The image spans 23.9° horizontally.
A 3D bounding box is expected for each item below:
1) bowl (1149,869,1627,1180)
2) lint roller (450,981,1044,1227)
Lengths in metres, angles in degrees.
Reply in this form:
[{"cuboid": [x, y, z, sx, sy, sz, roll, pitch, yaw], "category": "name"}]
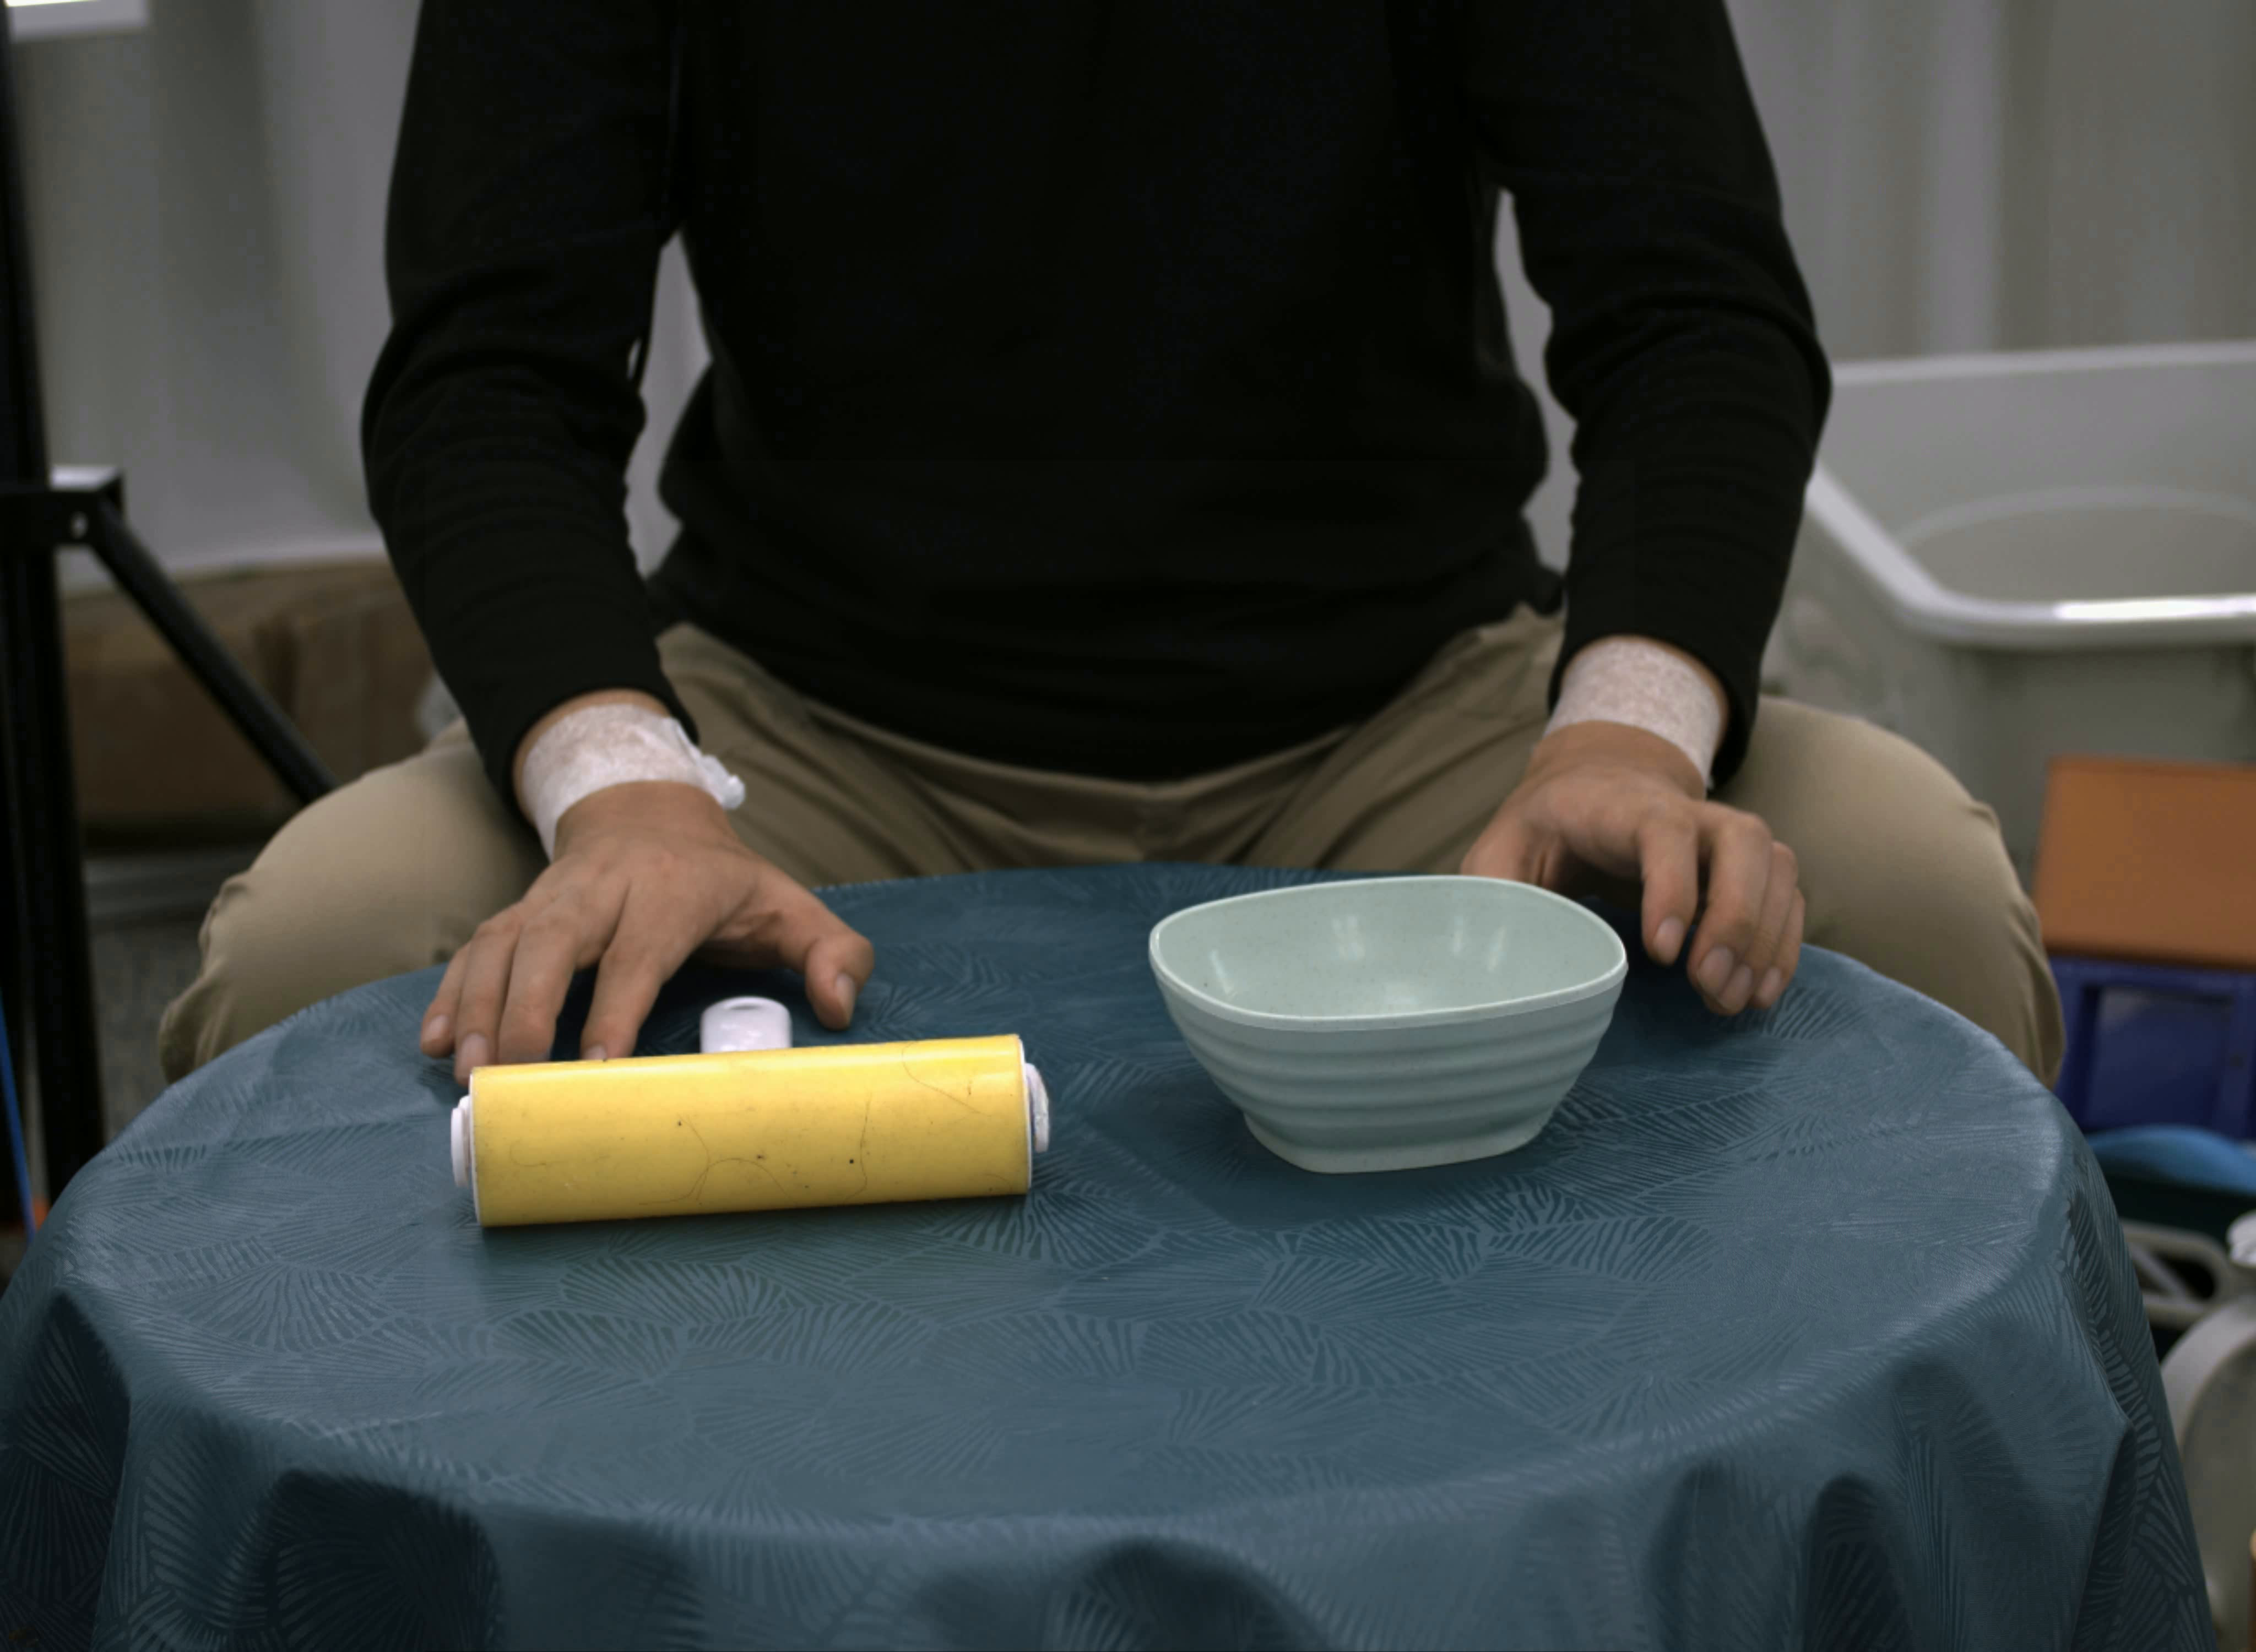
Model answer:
[{"cuboid": [0.078, 0.063, 1.599, 0.151, 0.058, 0.152, -3, 17, 0], "category": "bowl"}, {"cuboid": [-0.119, 0.068, 1.624, 0.173, 0.051, 0.194, -4, 20, -5], "category": "lint roller"}]
